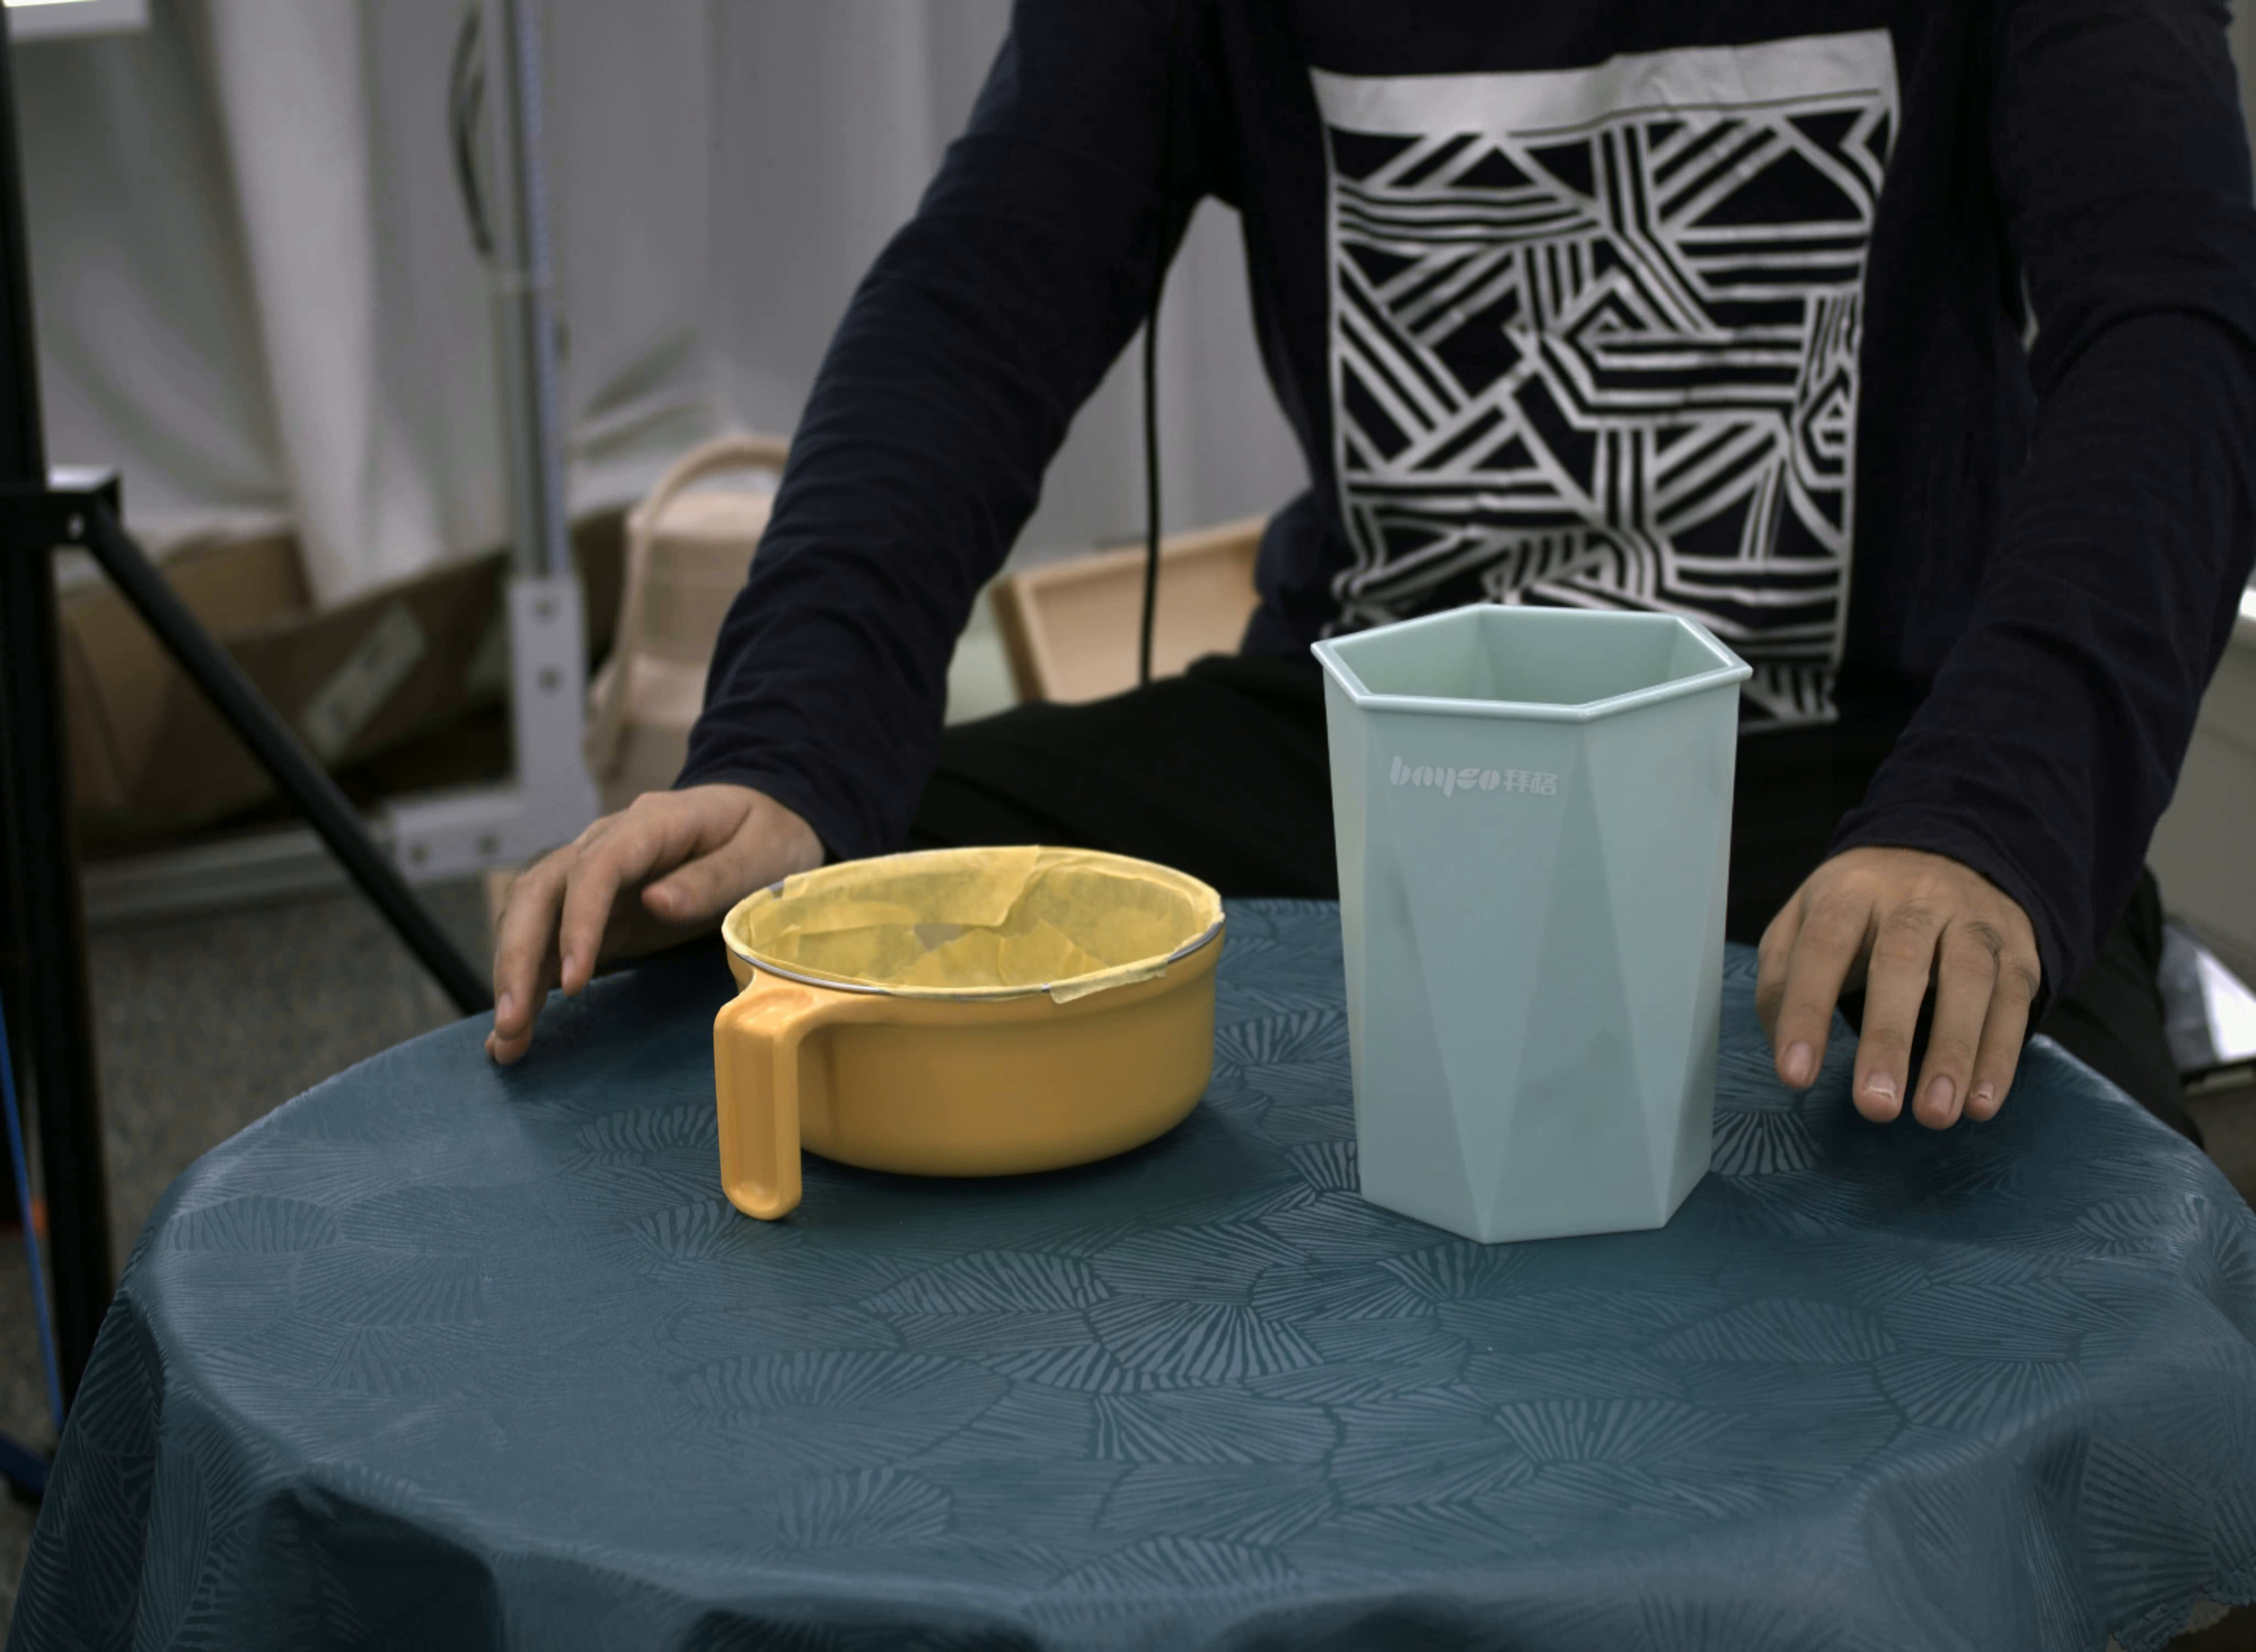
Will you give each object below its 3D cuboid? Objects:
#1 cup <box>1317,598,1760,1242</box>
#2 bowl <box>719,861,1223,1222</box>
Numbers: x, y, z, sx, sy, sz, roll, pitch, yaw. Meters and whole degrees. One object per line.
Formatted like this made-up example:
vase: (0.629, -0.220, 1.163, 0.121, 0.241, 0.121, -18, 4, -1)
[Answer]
cup: (0.116, 0.028, 1.529, 0.132, 0.163, 0.114, 5, 14, 18)
bowl: (-0.054, 0.062, 1.609, 0.156, 0.074, 0.175, 9, 17, 35)
